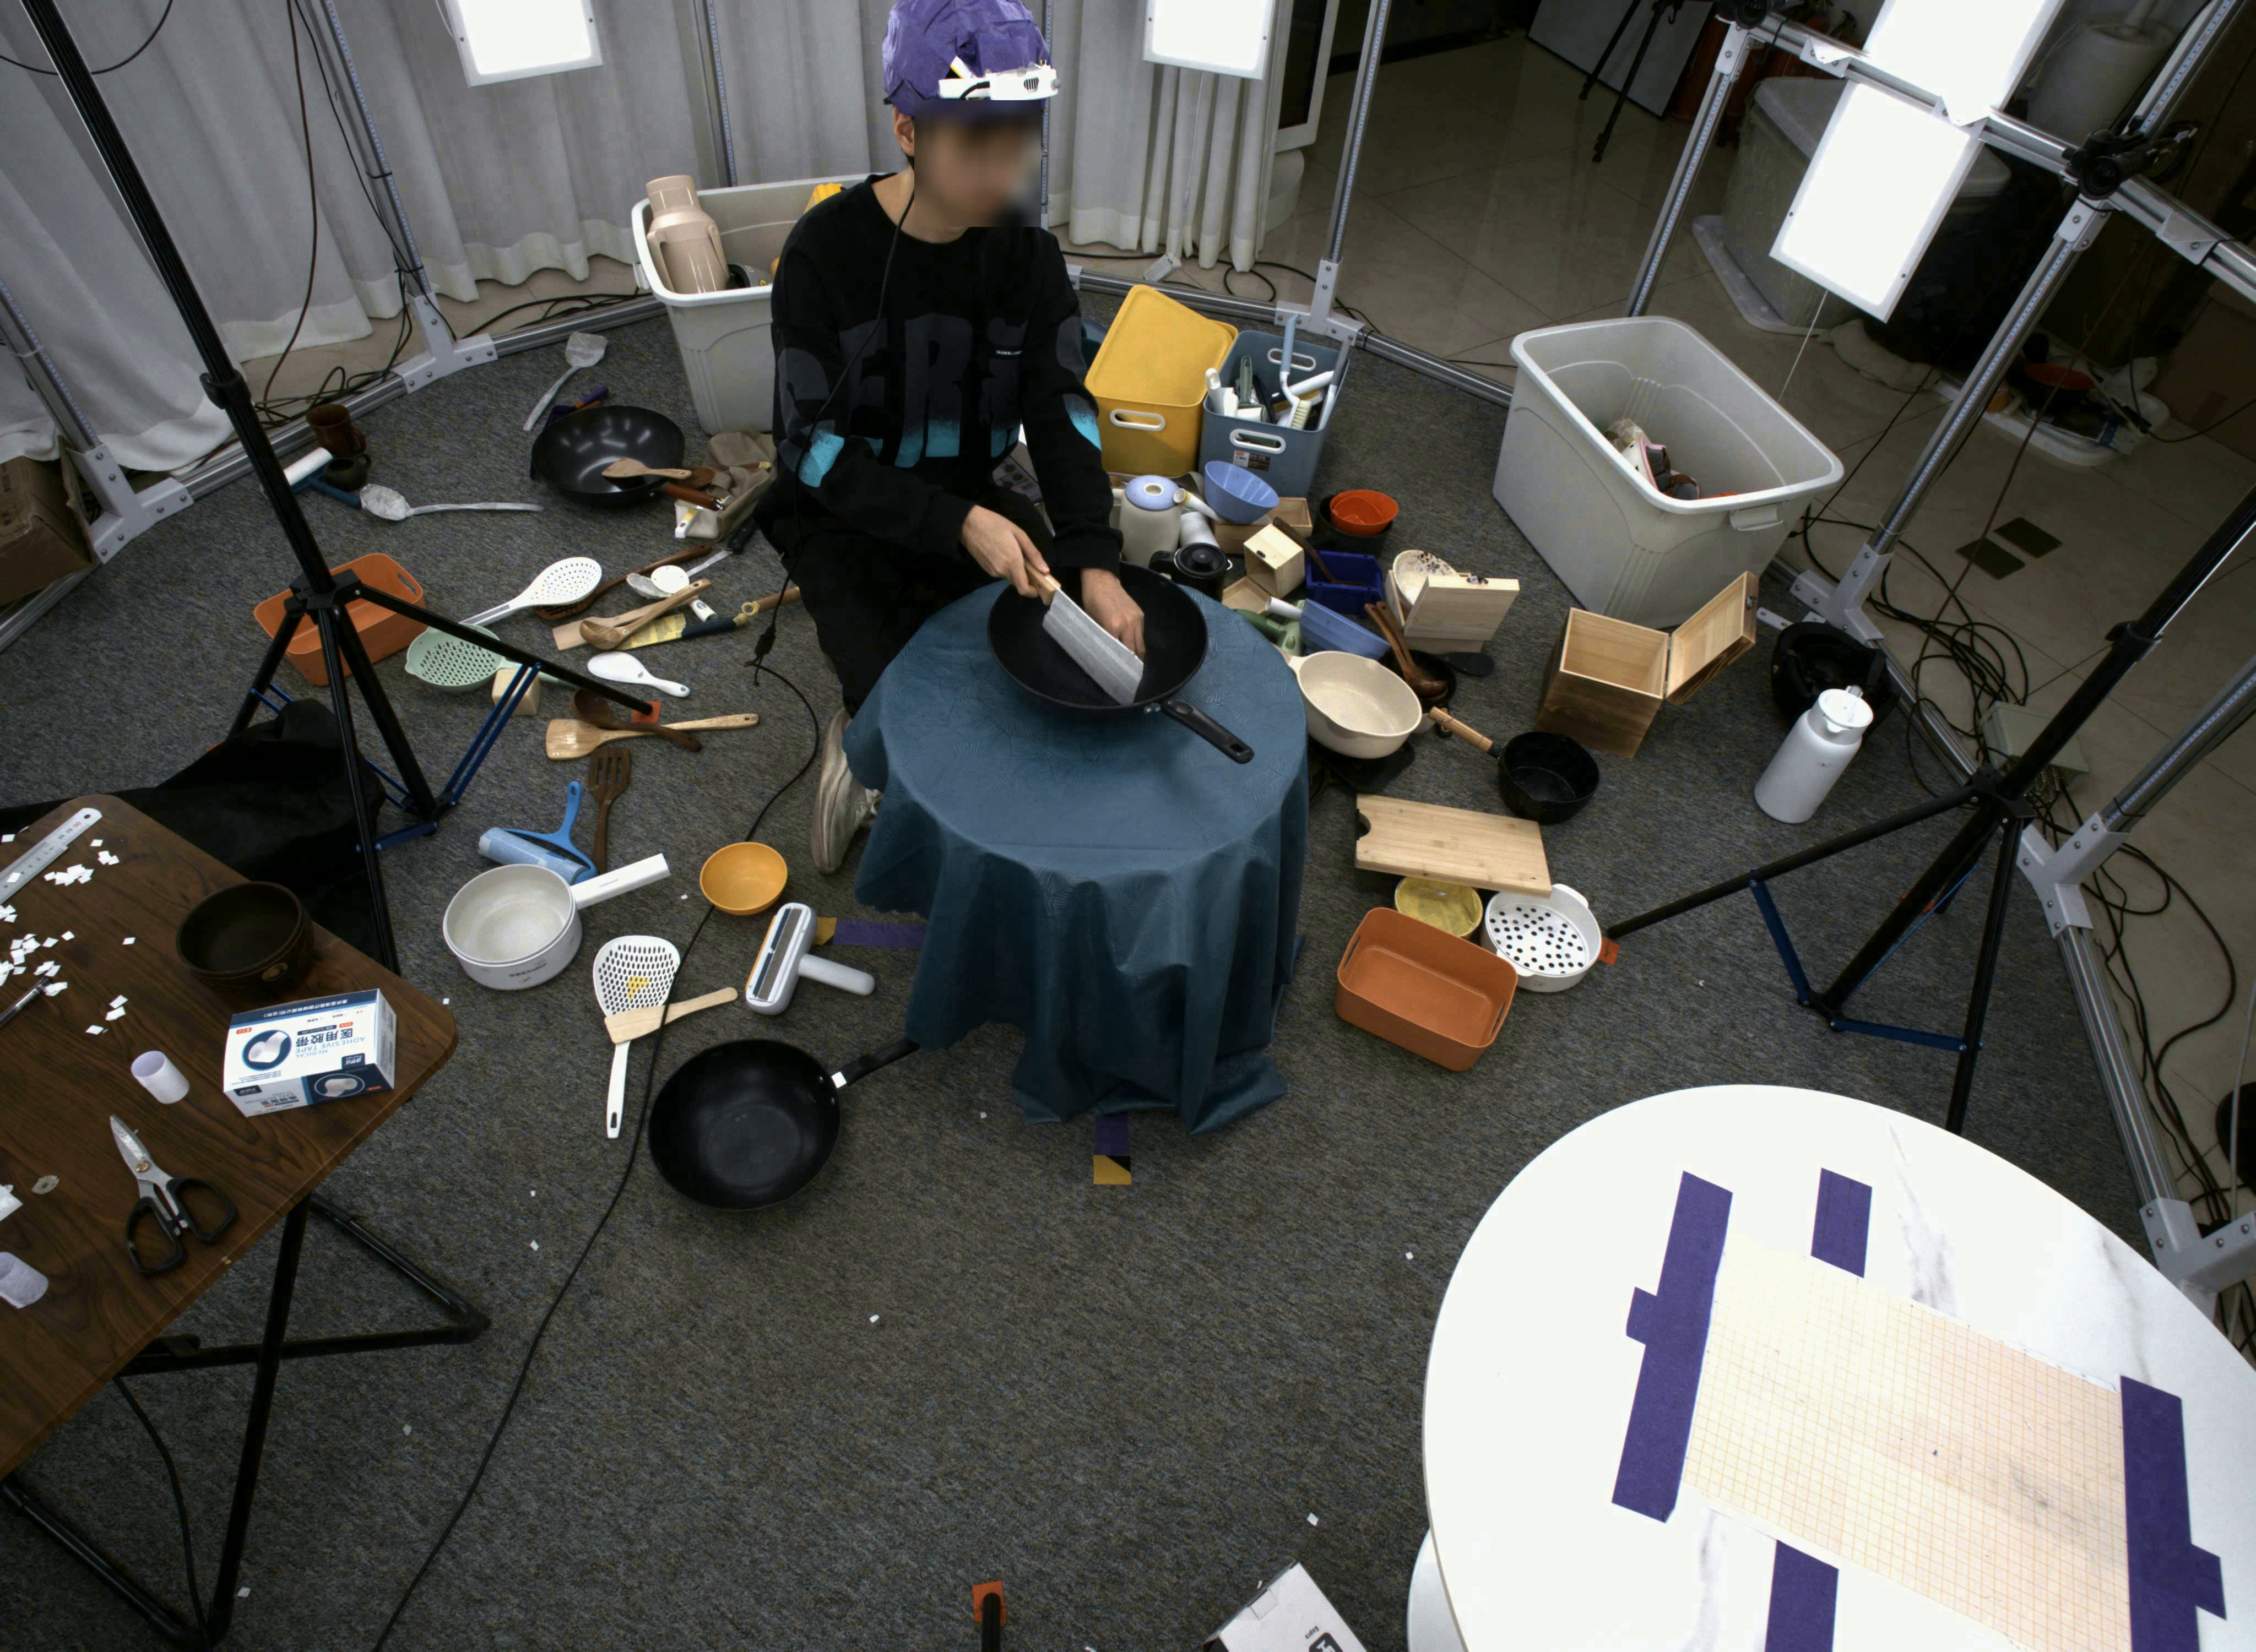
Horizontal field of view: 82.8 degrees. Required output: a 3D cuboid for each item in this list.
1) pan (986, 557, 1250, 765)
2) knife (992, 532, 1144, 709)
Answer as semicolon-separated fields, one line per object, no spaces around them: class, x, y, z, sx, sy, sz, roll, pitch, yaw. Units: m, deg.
pan;0.005;-0.204;1.778;0.312;0.109;0.486;-29;56;-24
knife;-0.083;-0.295;1.794;0.022;0.112;0.319;-33;72;-32
